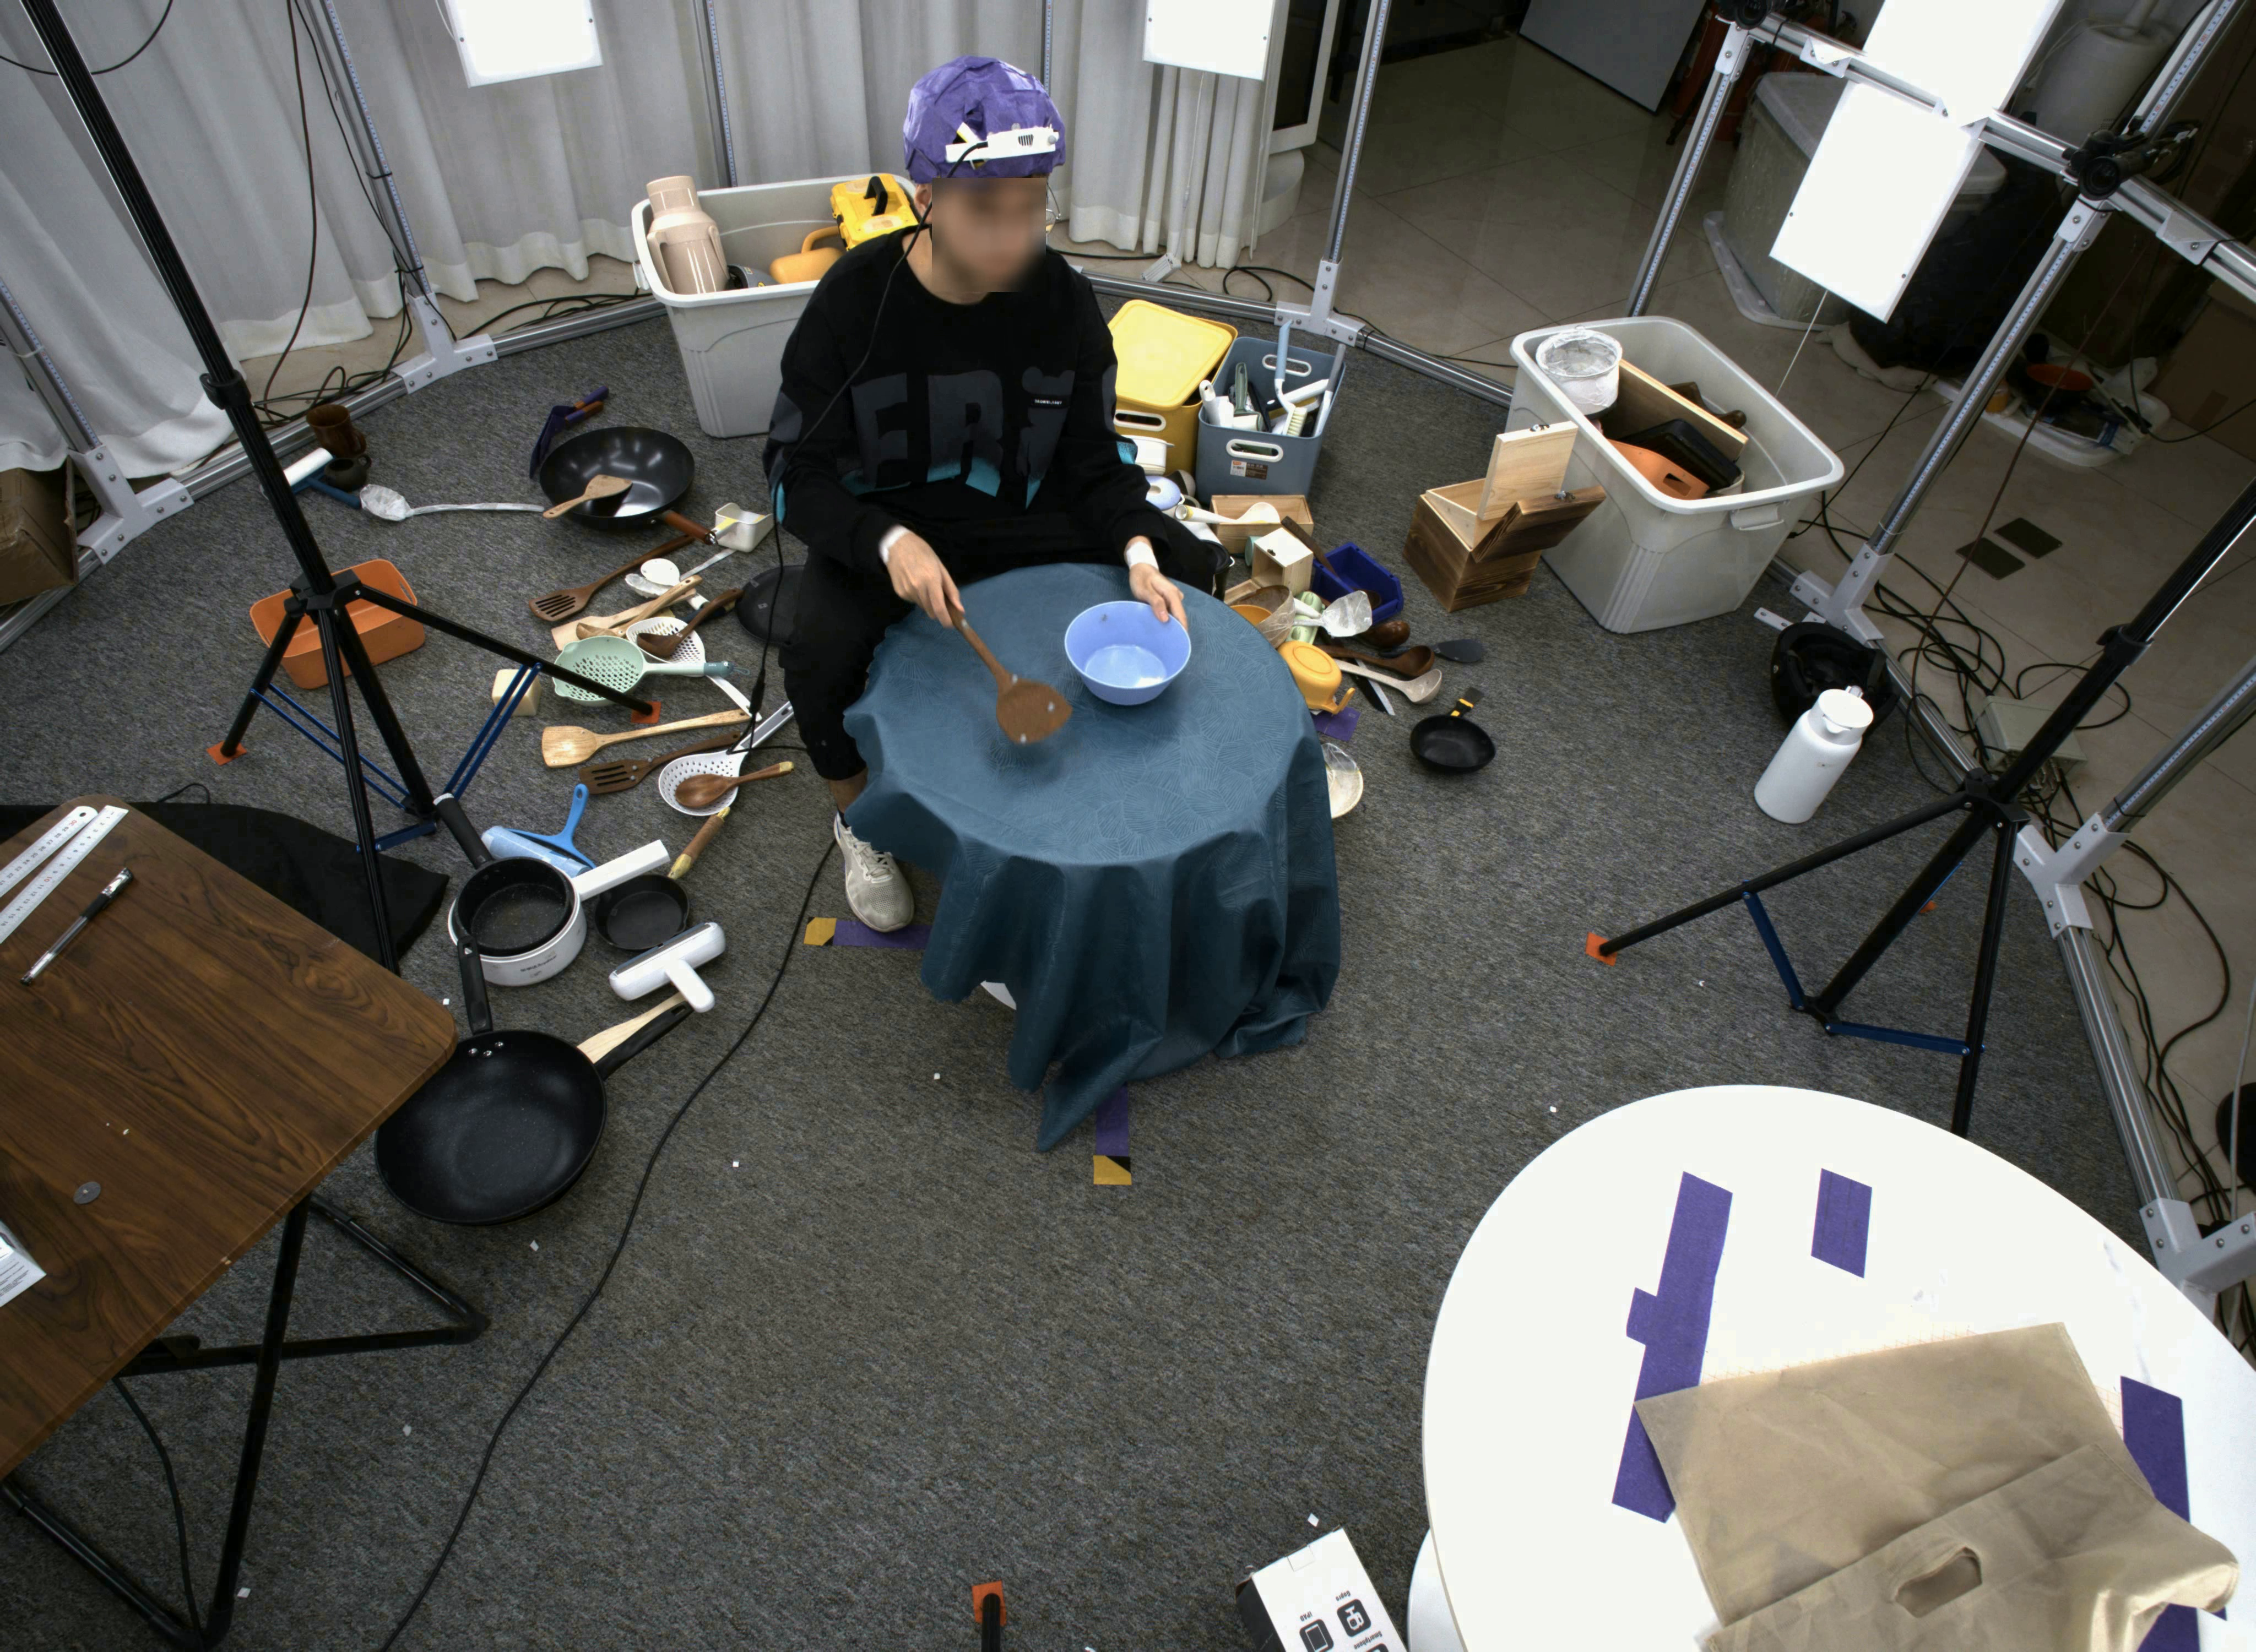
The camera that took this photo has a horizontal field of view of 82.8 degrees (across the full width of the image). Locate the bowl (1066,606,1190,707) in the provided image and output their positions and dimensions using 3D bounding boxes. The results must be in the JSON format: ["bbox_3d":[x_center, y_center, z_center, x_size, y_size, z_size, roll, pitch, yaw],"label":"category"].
[{"bbox_3d":[-0.001,-0.232,1.829,0.176,0.068,0.180,2,48,-2],"label":"bowl"}]

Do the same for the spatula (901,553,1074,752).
[{"bbox_3d":[-0.213,-0.252,1.792,0.096,0.015,0.392,-31,66,-16],"label":"spatula"}]
